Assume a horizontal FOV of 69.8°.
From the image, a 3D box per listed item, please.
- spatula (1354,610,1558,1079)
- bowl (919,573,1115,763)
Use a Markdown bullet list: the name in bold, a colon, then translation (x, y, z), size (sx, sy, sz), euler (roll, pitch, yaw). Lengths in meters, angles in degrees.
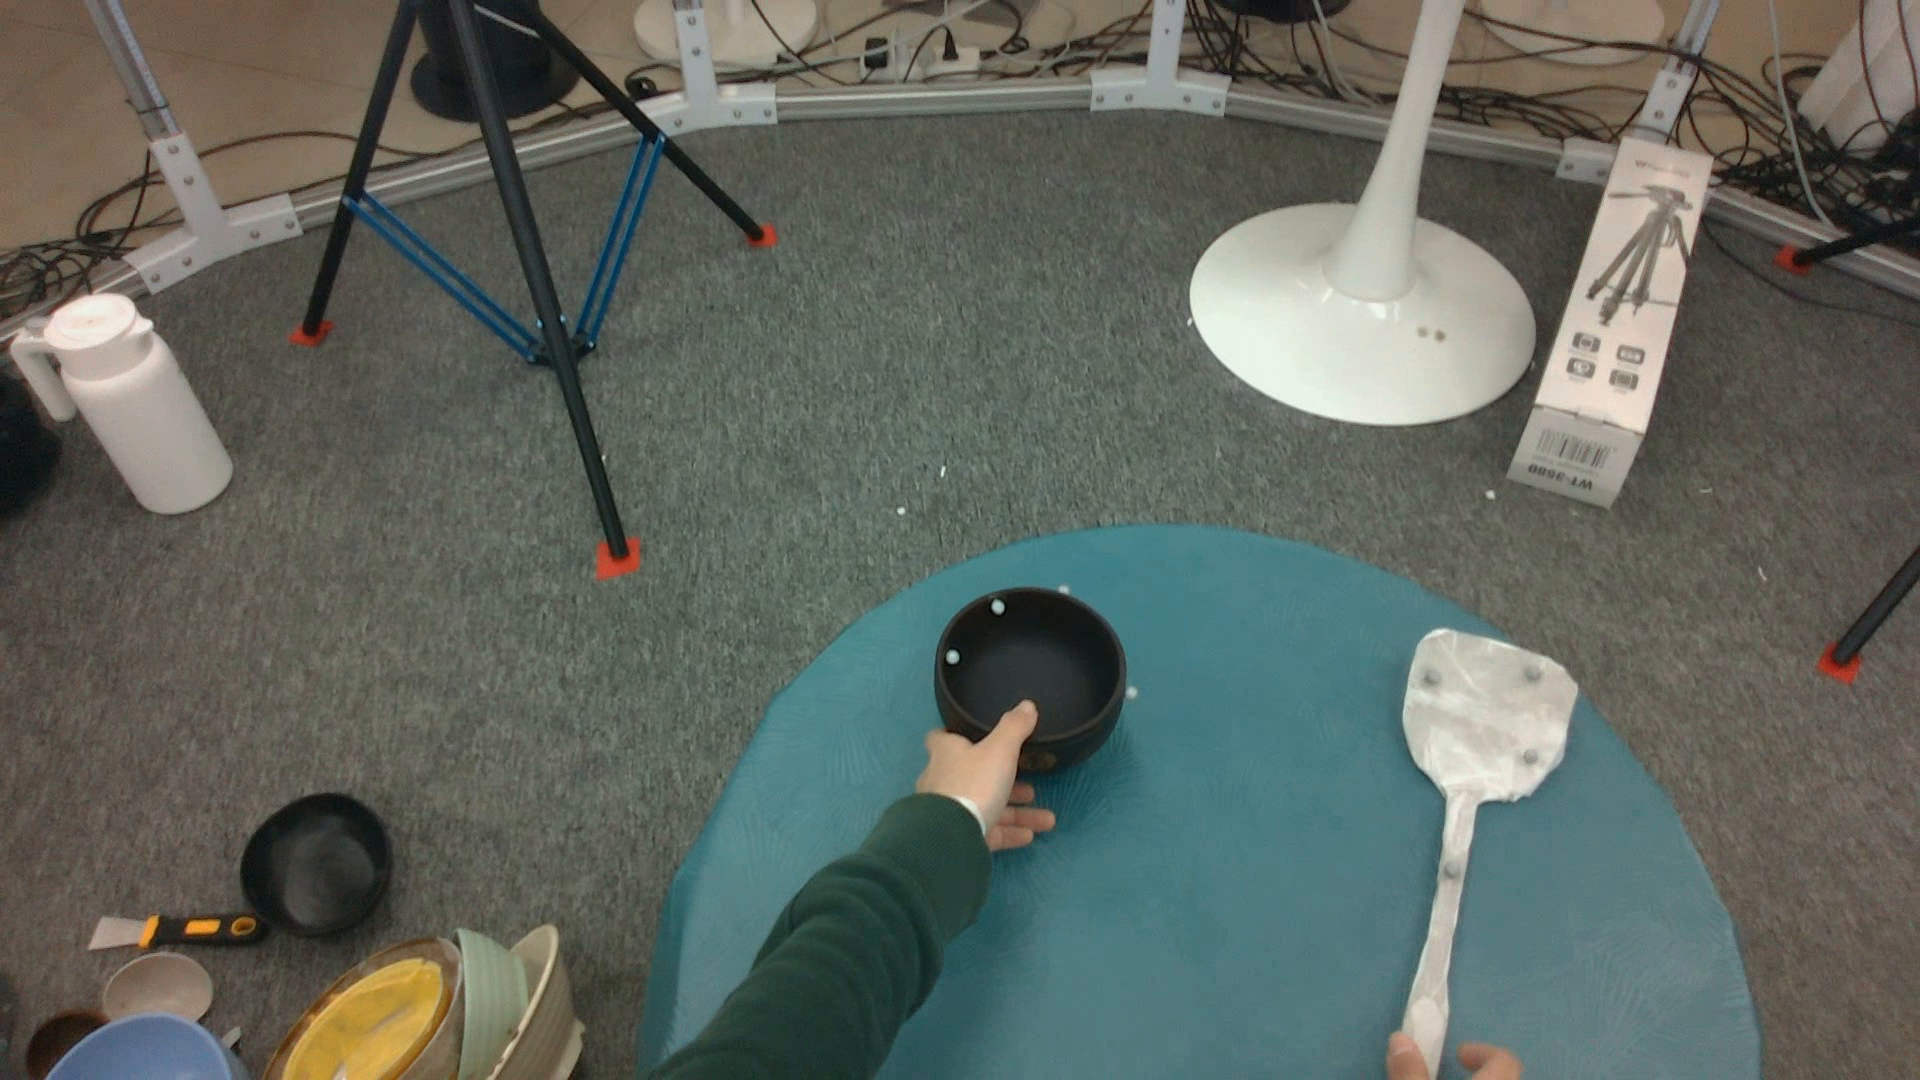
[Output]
- **spatula**: translation (0.264, 0.191, 0.779), size (0.098, 0.044, 0.367), euler (20, 51, 12)
- **bowl**: translation (0.034, 0.085, 0.845), size (0.118, 0.069, 0.118), euler (0, 51, 1)
